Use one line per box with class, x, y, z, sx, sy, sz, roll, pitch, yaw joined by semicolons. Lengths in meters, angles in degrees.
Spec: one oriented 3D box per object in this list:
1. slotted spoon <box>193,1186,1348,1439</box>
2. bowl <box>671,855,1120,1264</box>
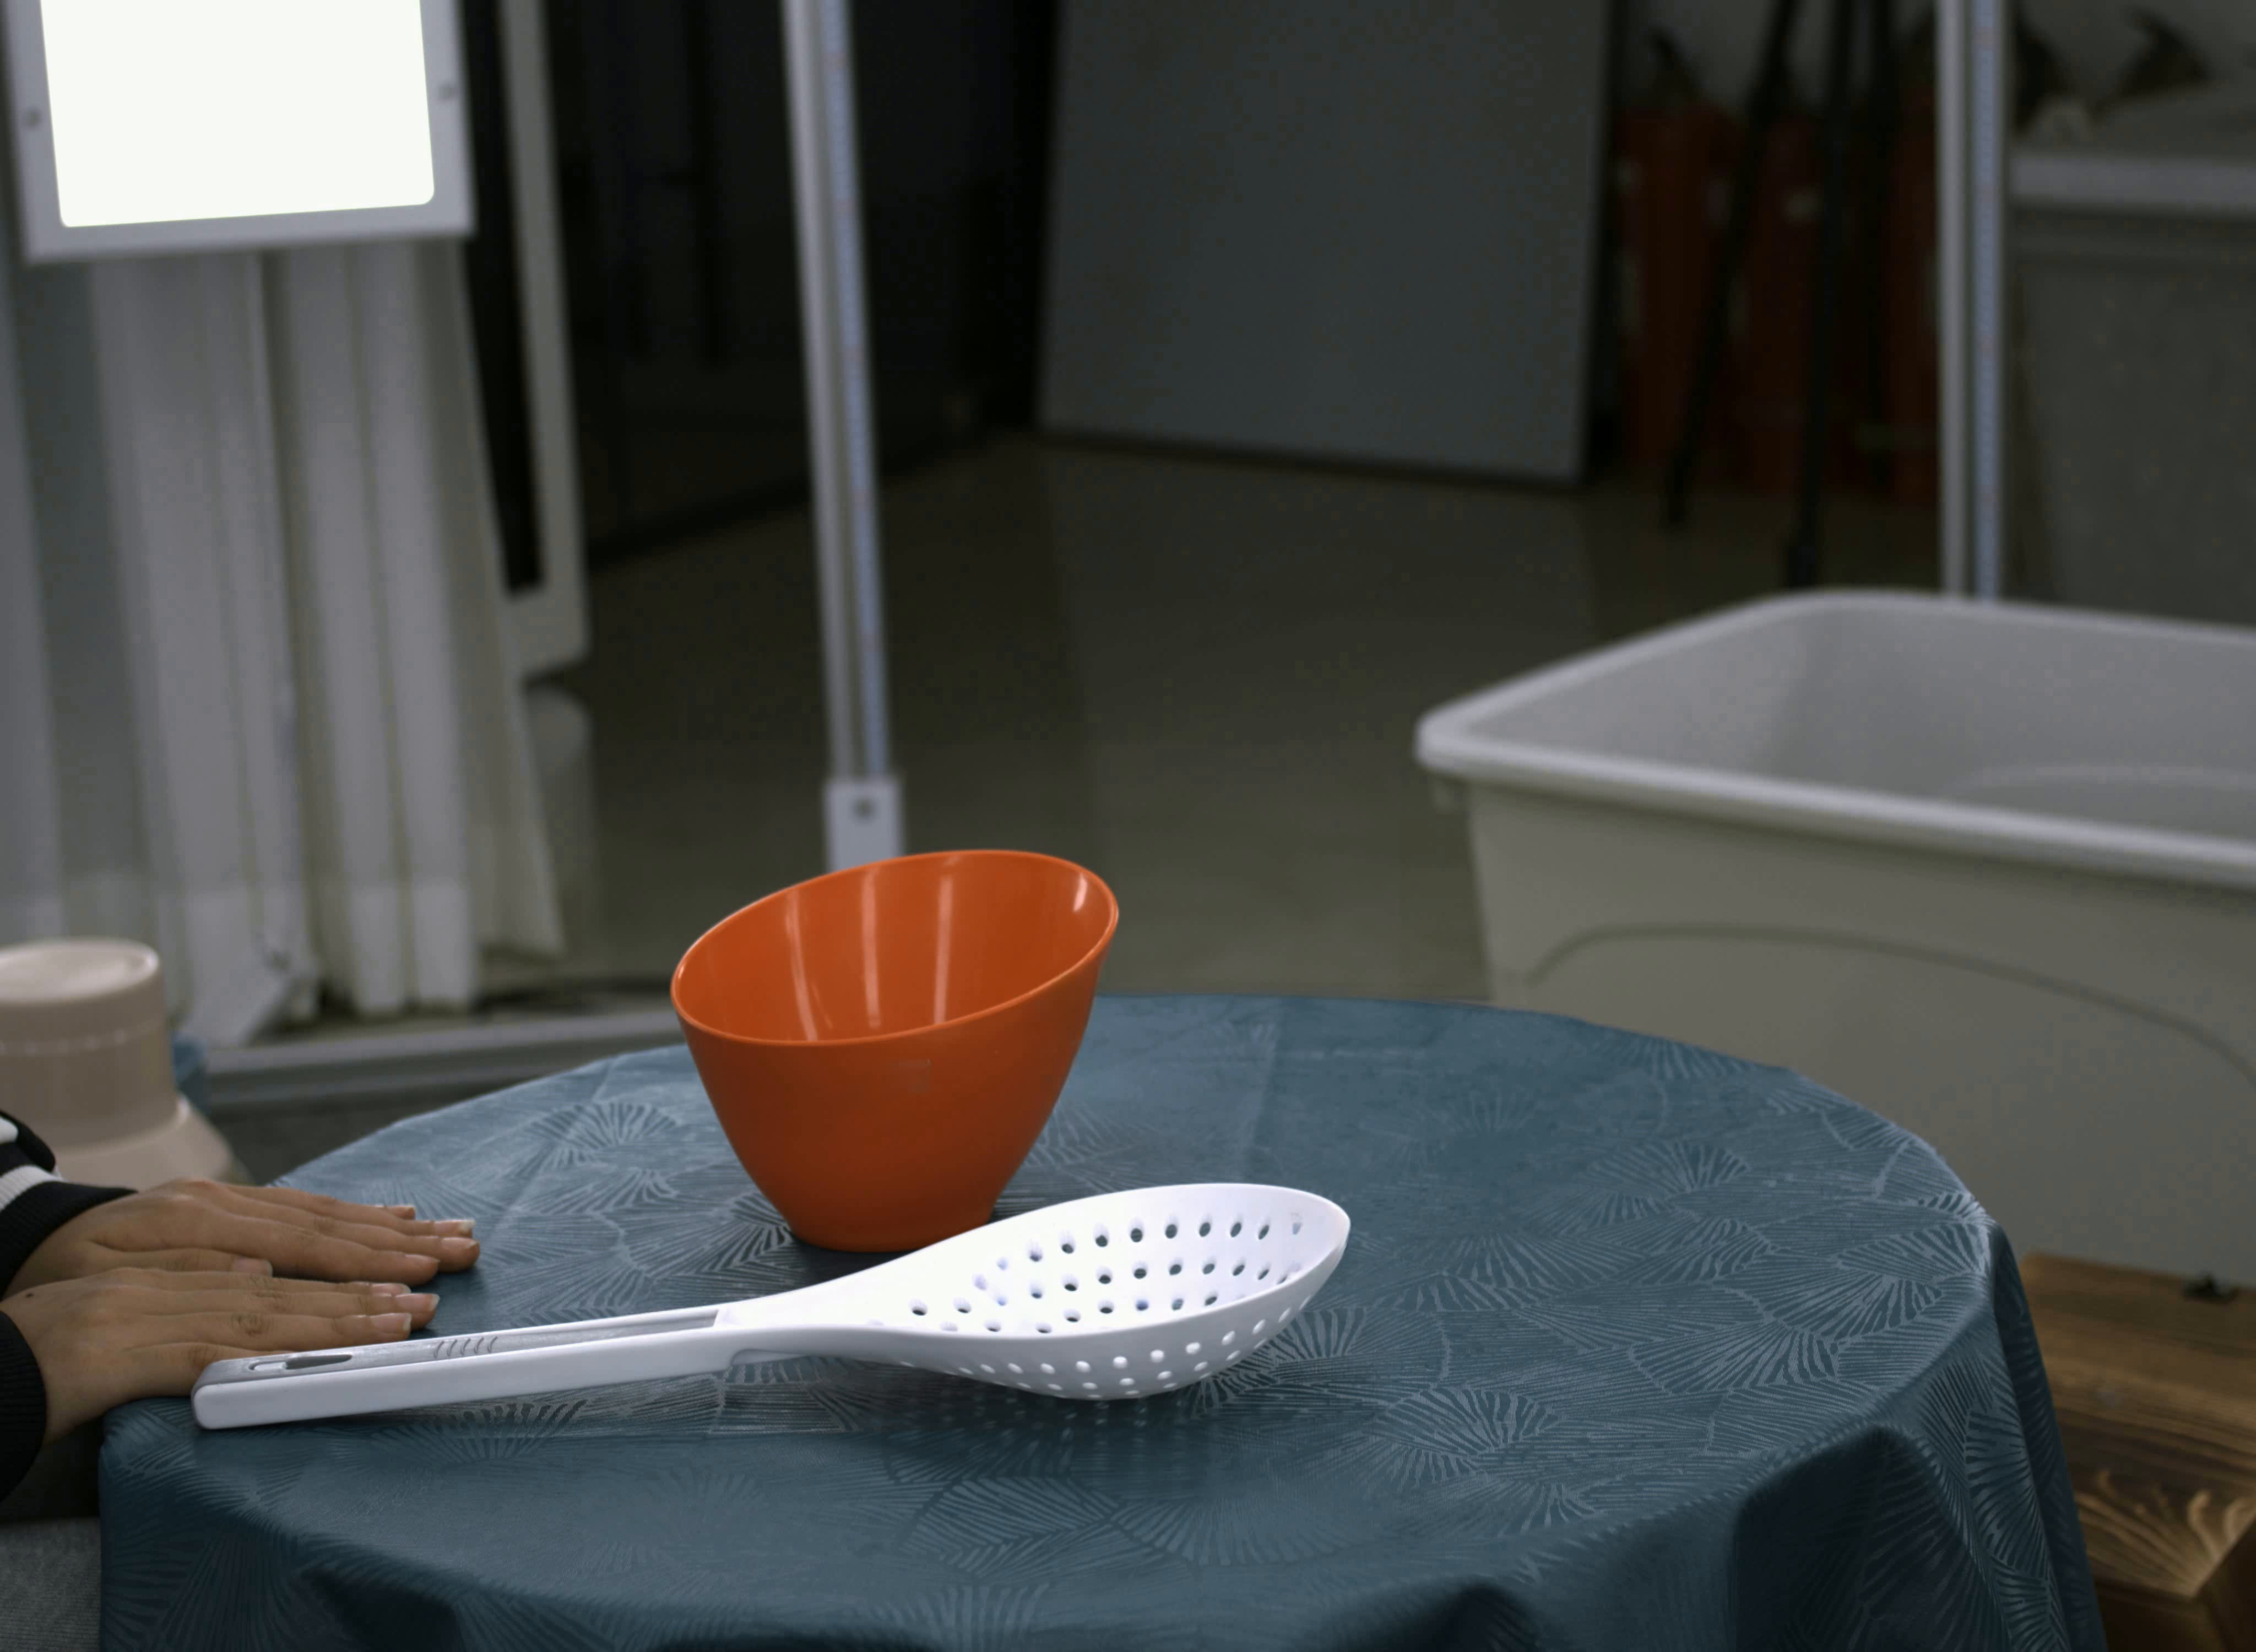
slotted spoon;-0.106;0.149;1.594;0.346;0.046;0.136;-3;12;5
bowl;-0.073;0.079;1.752;0.146;0.106;0.148;-3;16;0
